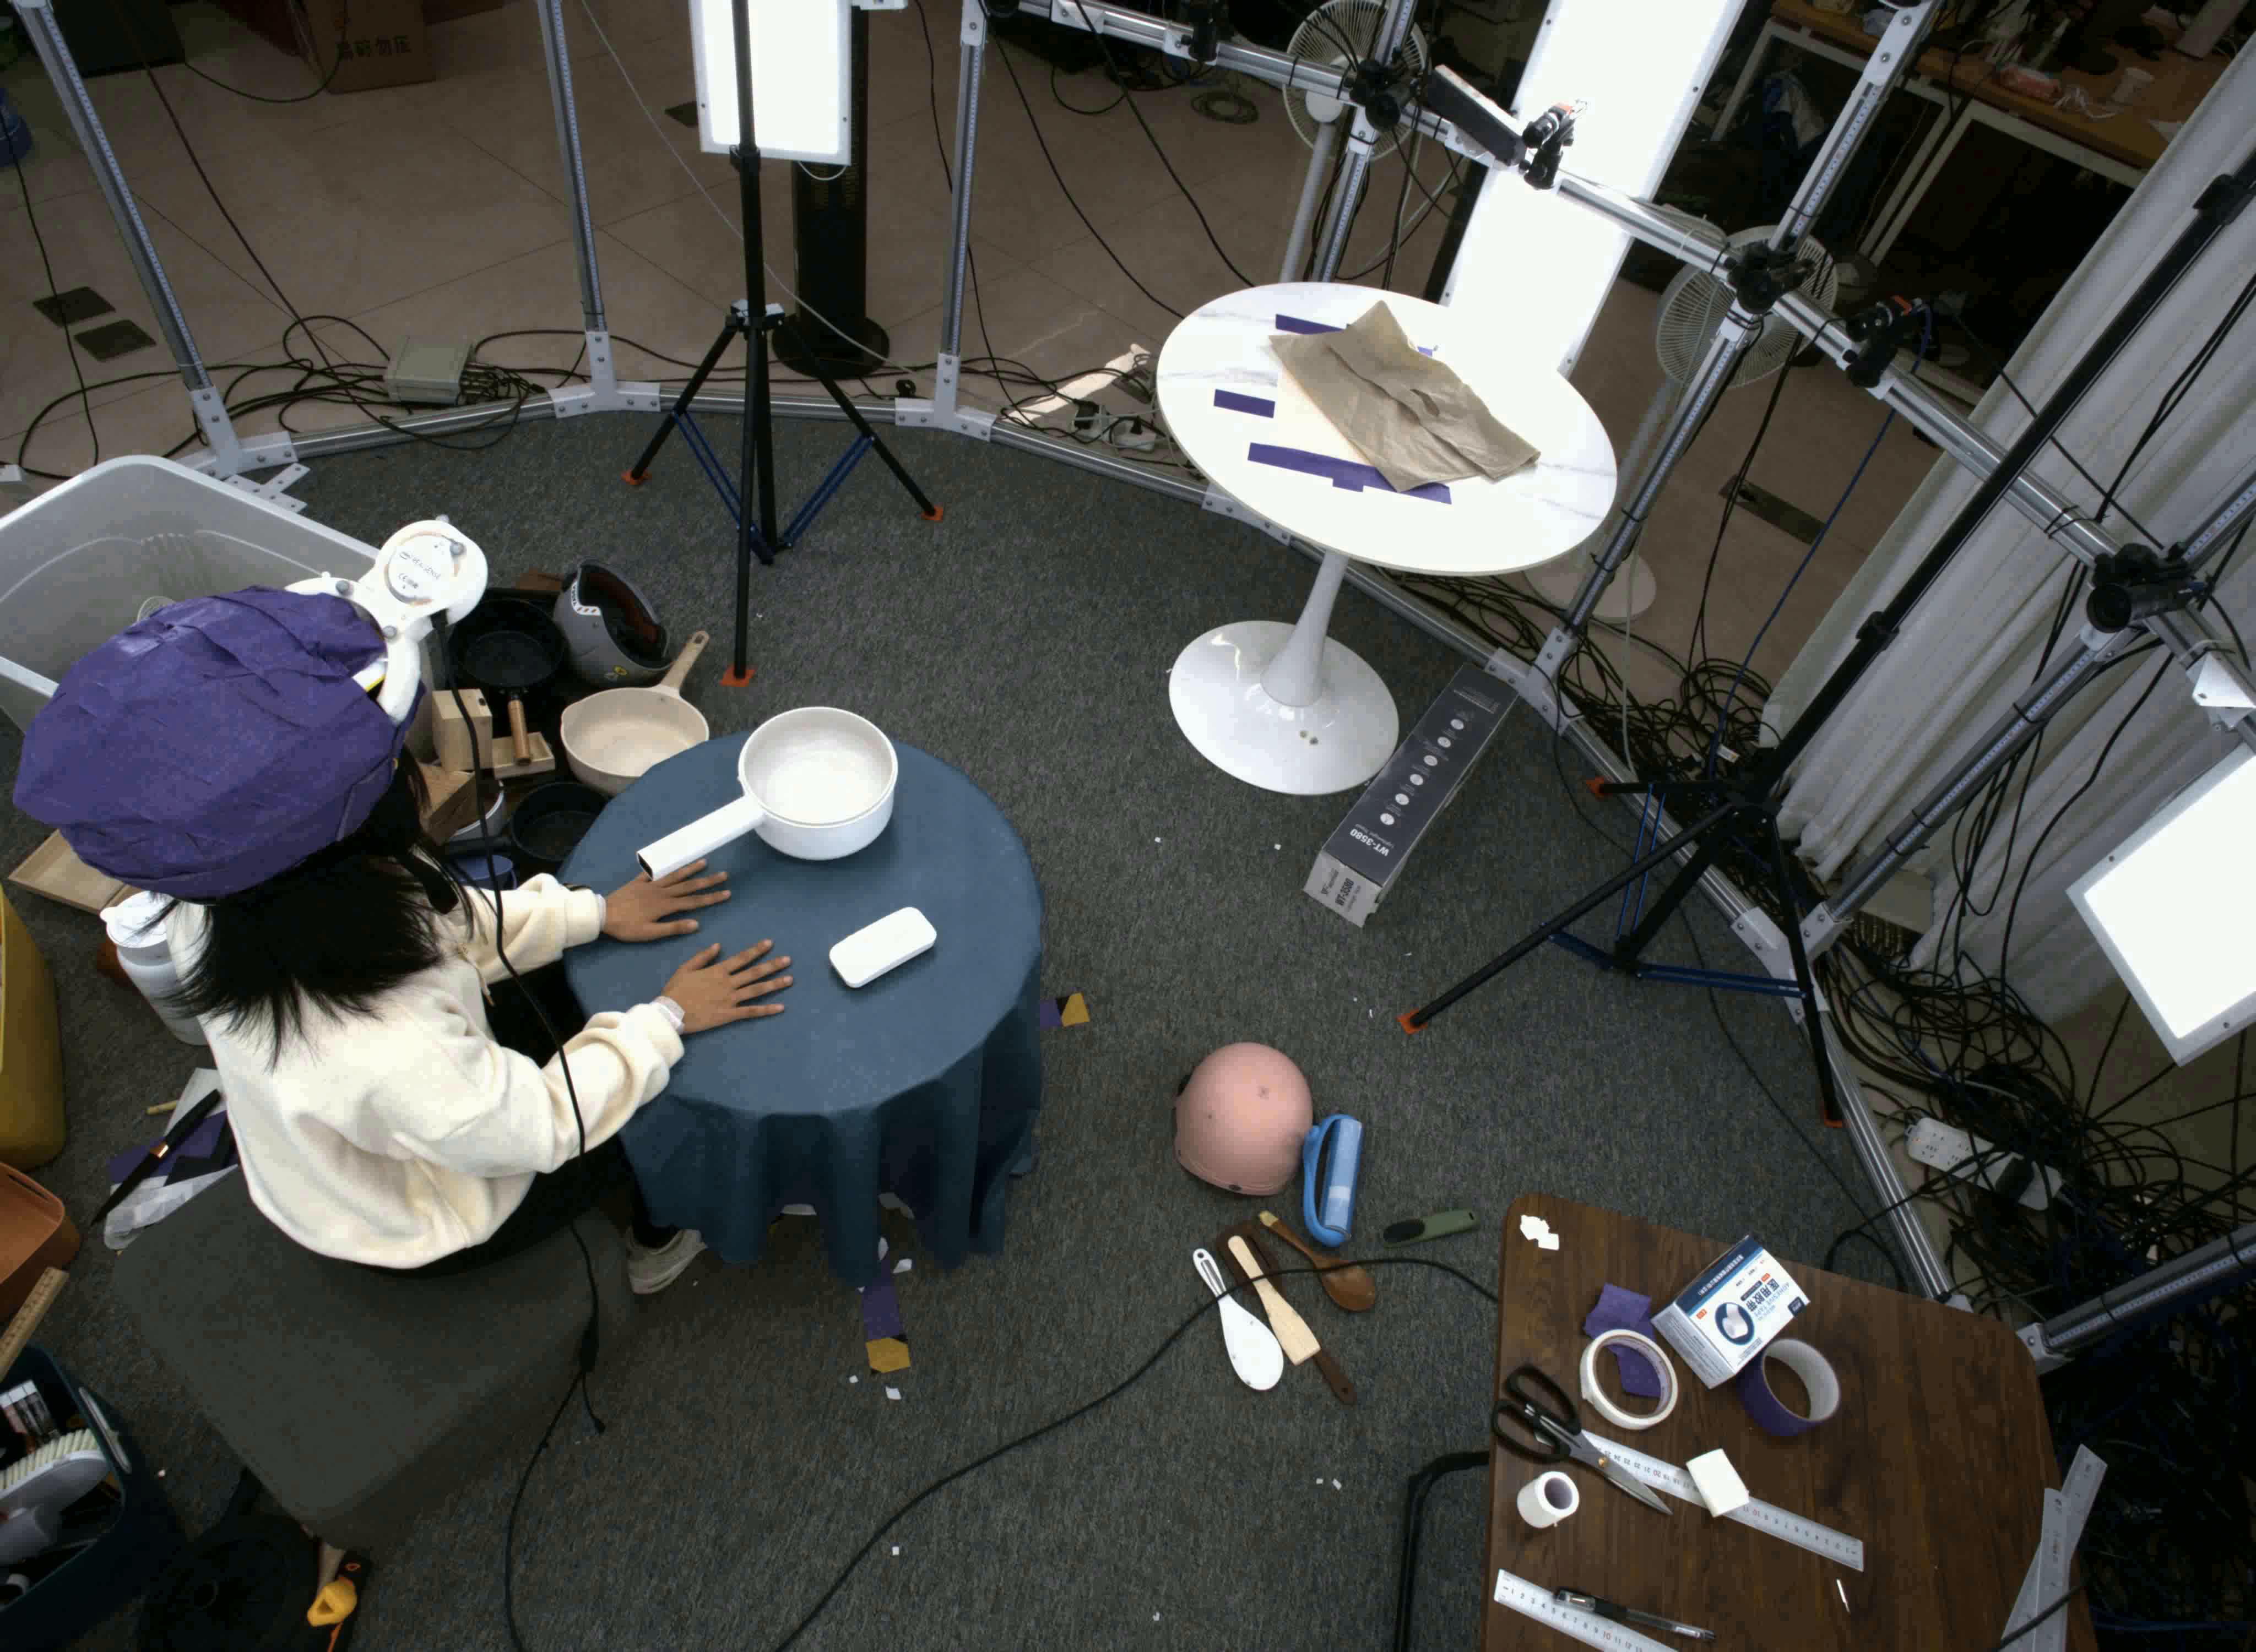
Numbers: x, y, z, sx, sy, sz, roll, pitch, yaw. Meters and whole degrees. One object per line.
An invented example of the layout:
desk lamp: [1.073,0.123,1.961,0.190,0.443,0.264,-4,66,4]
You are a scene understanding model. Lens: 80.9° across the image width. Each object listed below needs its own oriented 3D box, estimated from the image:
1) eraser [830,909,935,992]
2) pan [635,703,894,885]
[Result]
eraser: [-0.306,0.150,1.619,0.132,0.035,0.062,-30,62,-31]
pan: [-0.461,-0.015,1.657,0.355,0.104,0.196,-36,67,-31]
